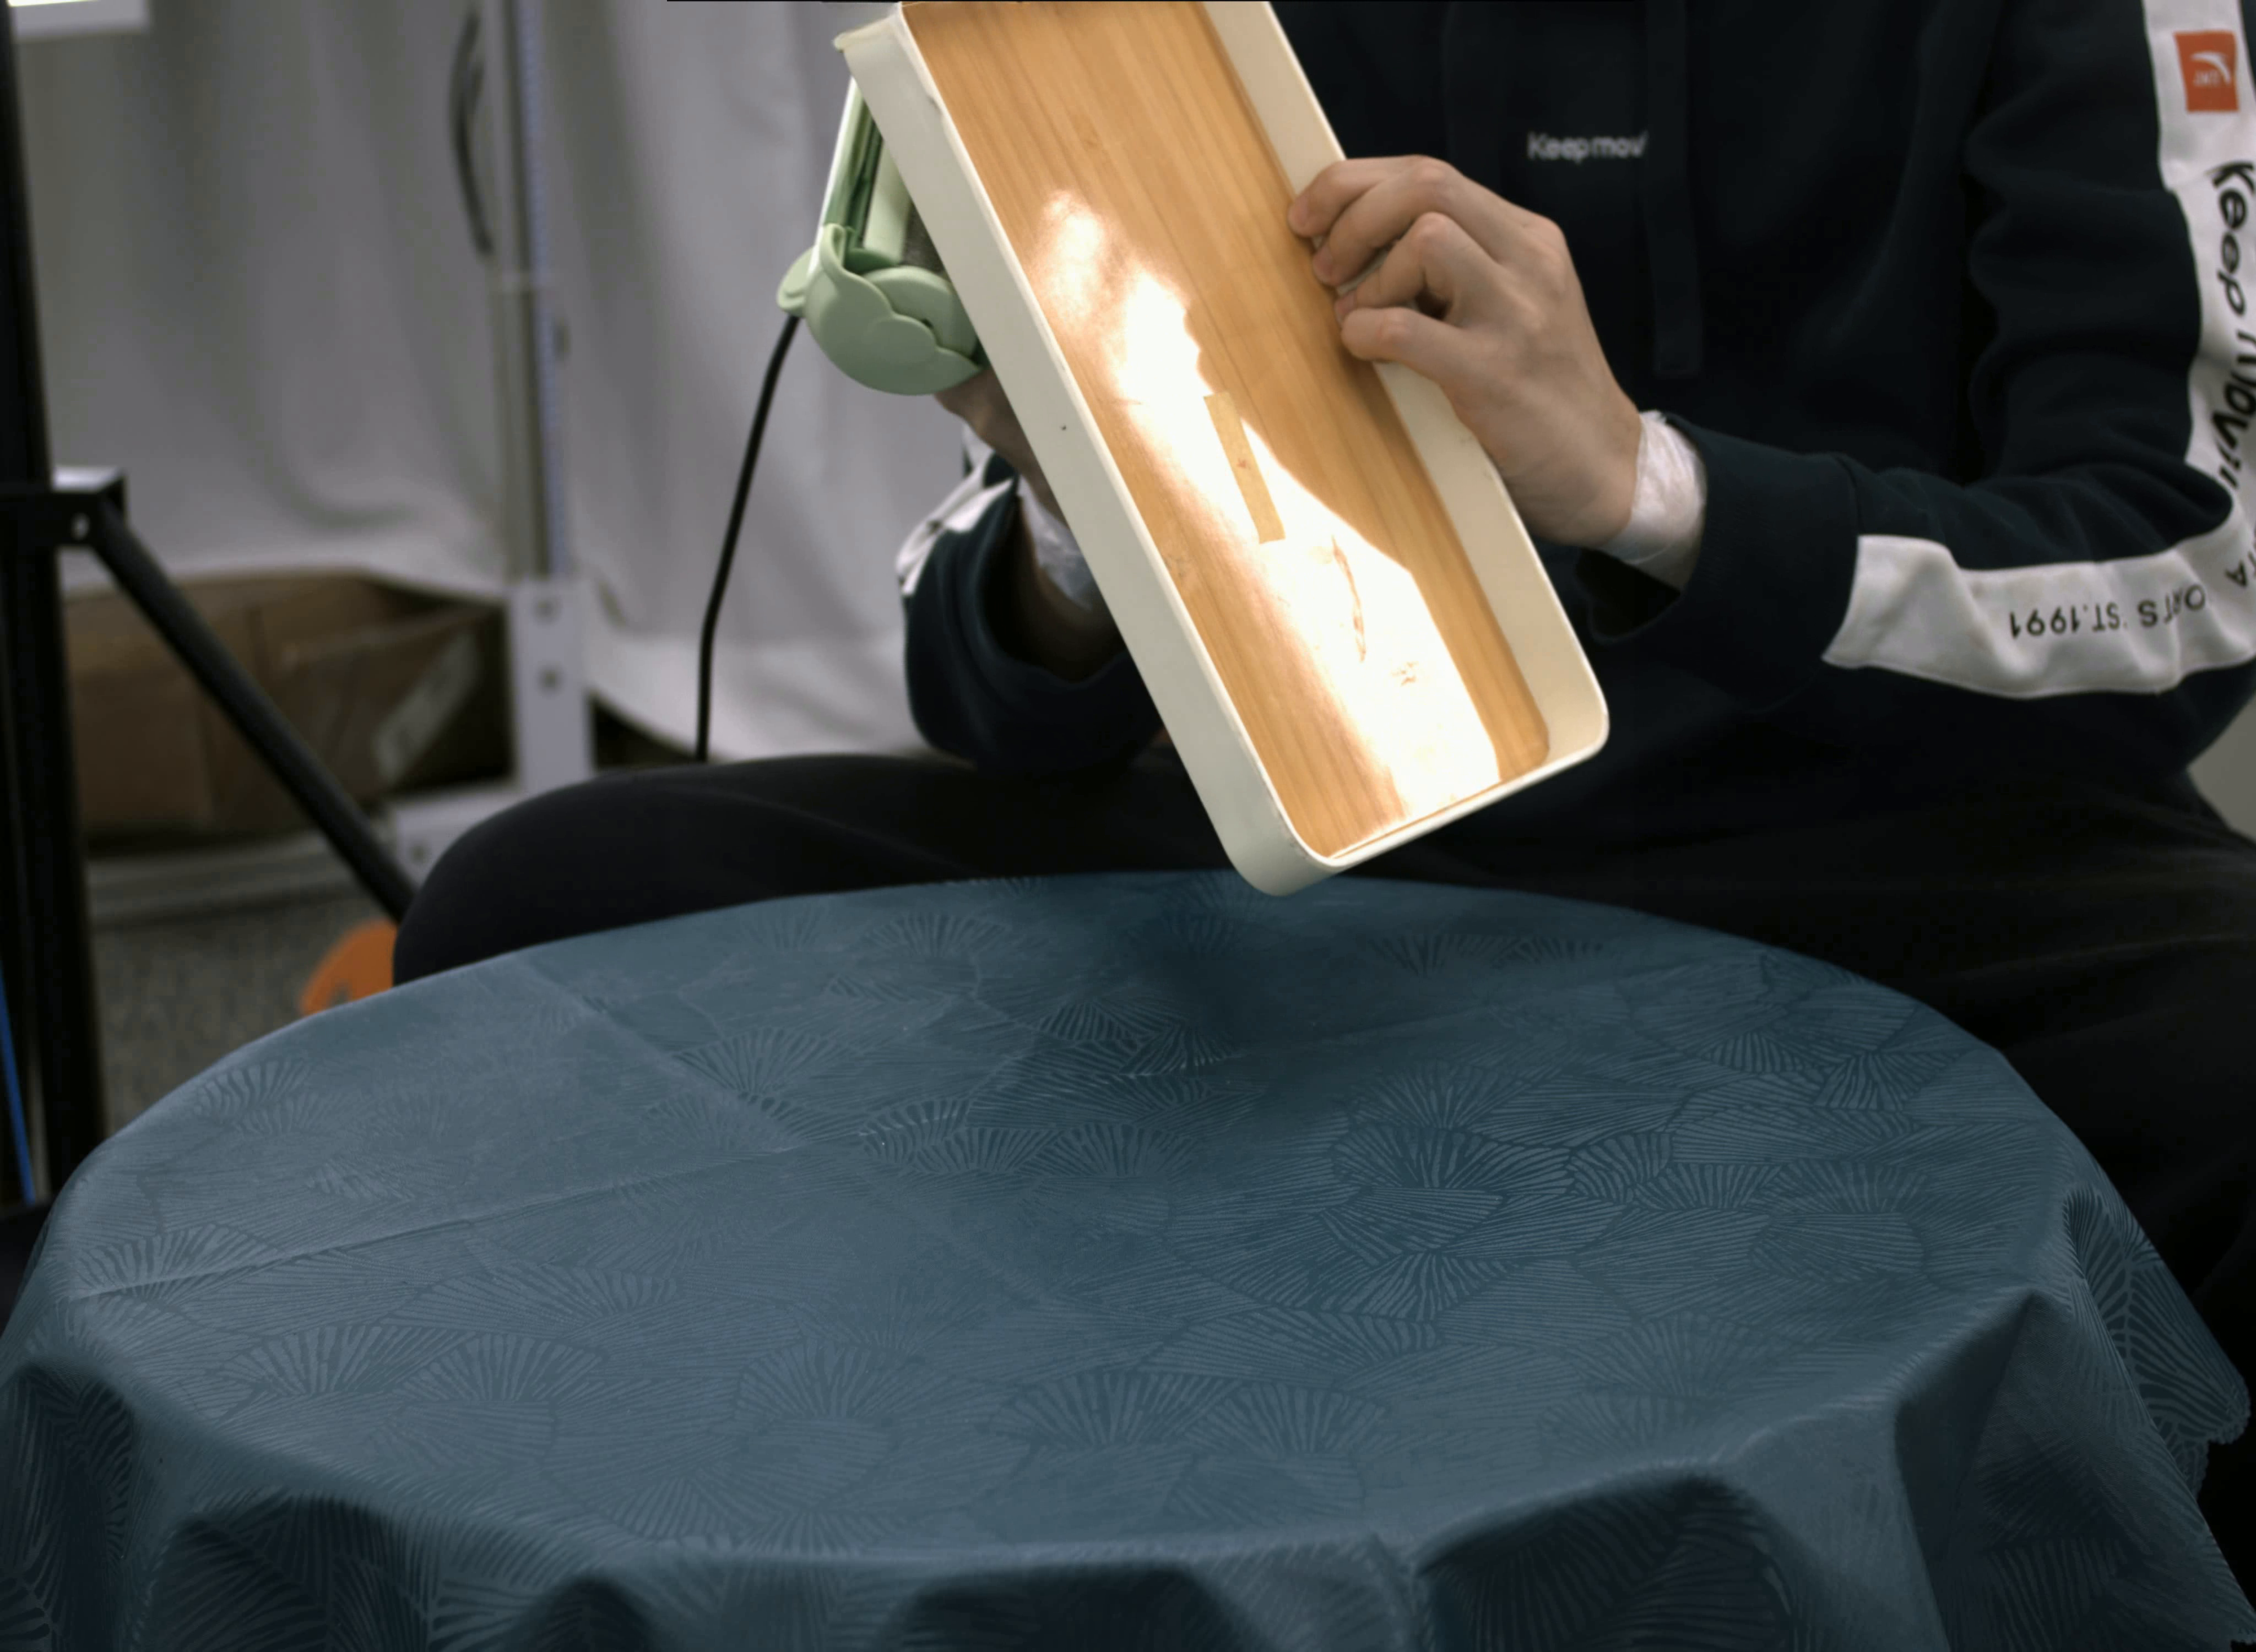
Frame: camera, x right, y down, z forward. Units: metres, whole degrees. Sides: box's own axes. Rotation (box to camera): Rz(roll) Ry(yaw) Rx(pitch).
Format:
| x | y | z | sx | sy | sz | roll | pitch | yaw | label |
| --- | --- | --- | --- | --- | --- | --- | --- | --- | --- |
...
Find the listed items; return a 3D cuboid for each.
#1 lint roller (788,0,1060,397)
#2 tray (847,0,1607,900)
| x | y | z | sx | sy | sz | roll | pitch | yaw | label |
| --- | --- | --- | --- | --- | --- | --- | --- | --- | --- |
| -0.049 | -0.184 | 1.700 | 0.083 | 0.180 | 0.200 | -5 | 49 | 16 | lint roller |
| 0.034 | -0.135 | 1.641 | 0.028 | 0.302 | 0.188 | -28 | -4 | 37 | tray |
